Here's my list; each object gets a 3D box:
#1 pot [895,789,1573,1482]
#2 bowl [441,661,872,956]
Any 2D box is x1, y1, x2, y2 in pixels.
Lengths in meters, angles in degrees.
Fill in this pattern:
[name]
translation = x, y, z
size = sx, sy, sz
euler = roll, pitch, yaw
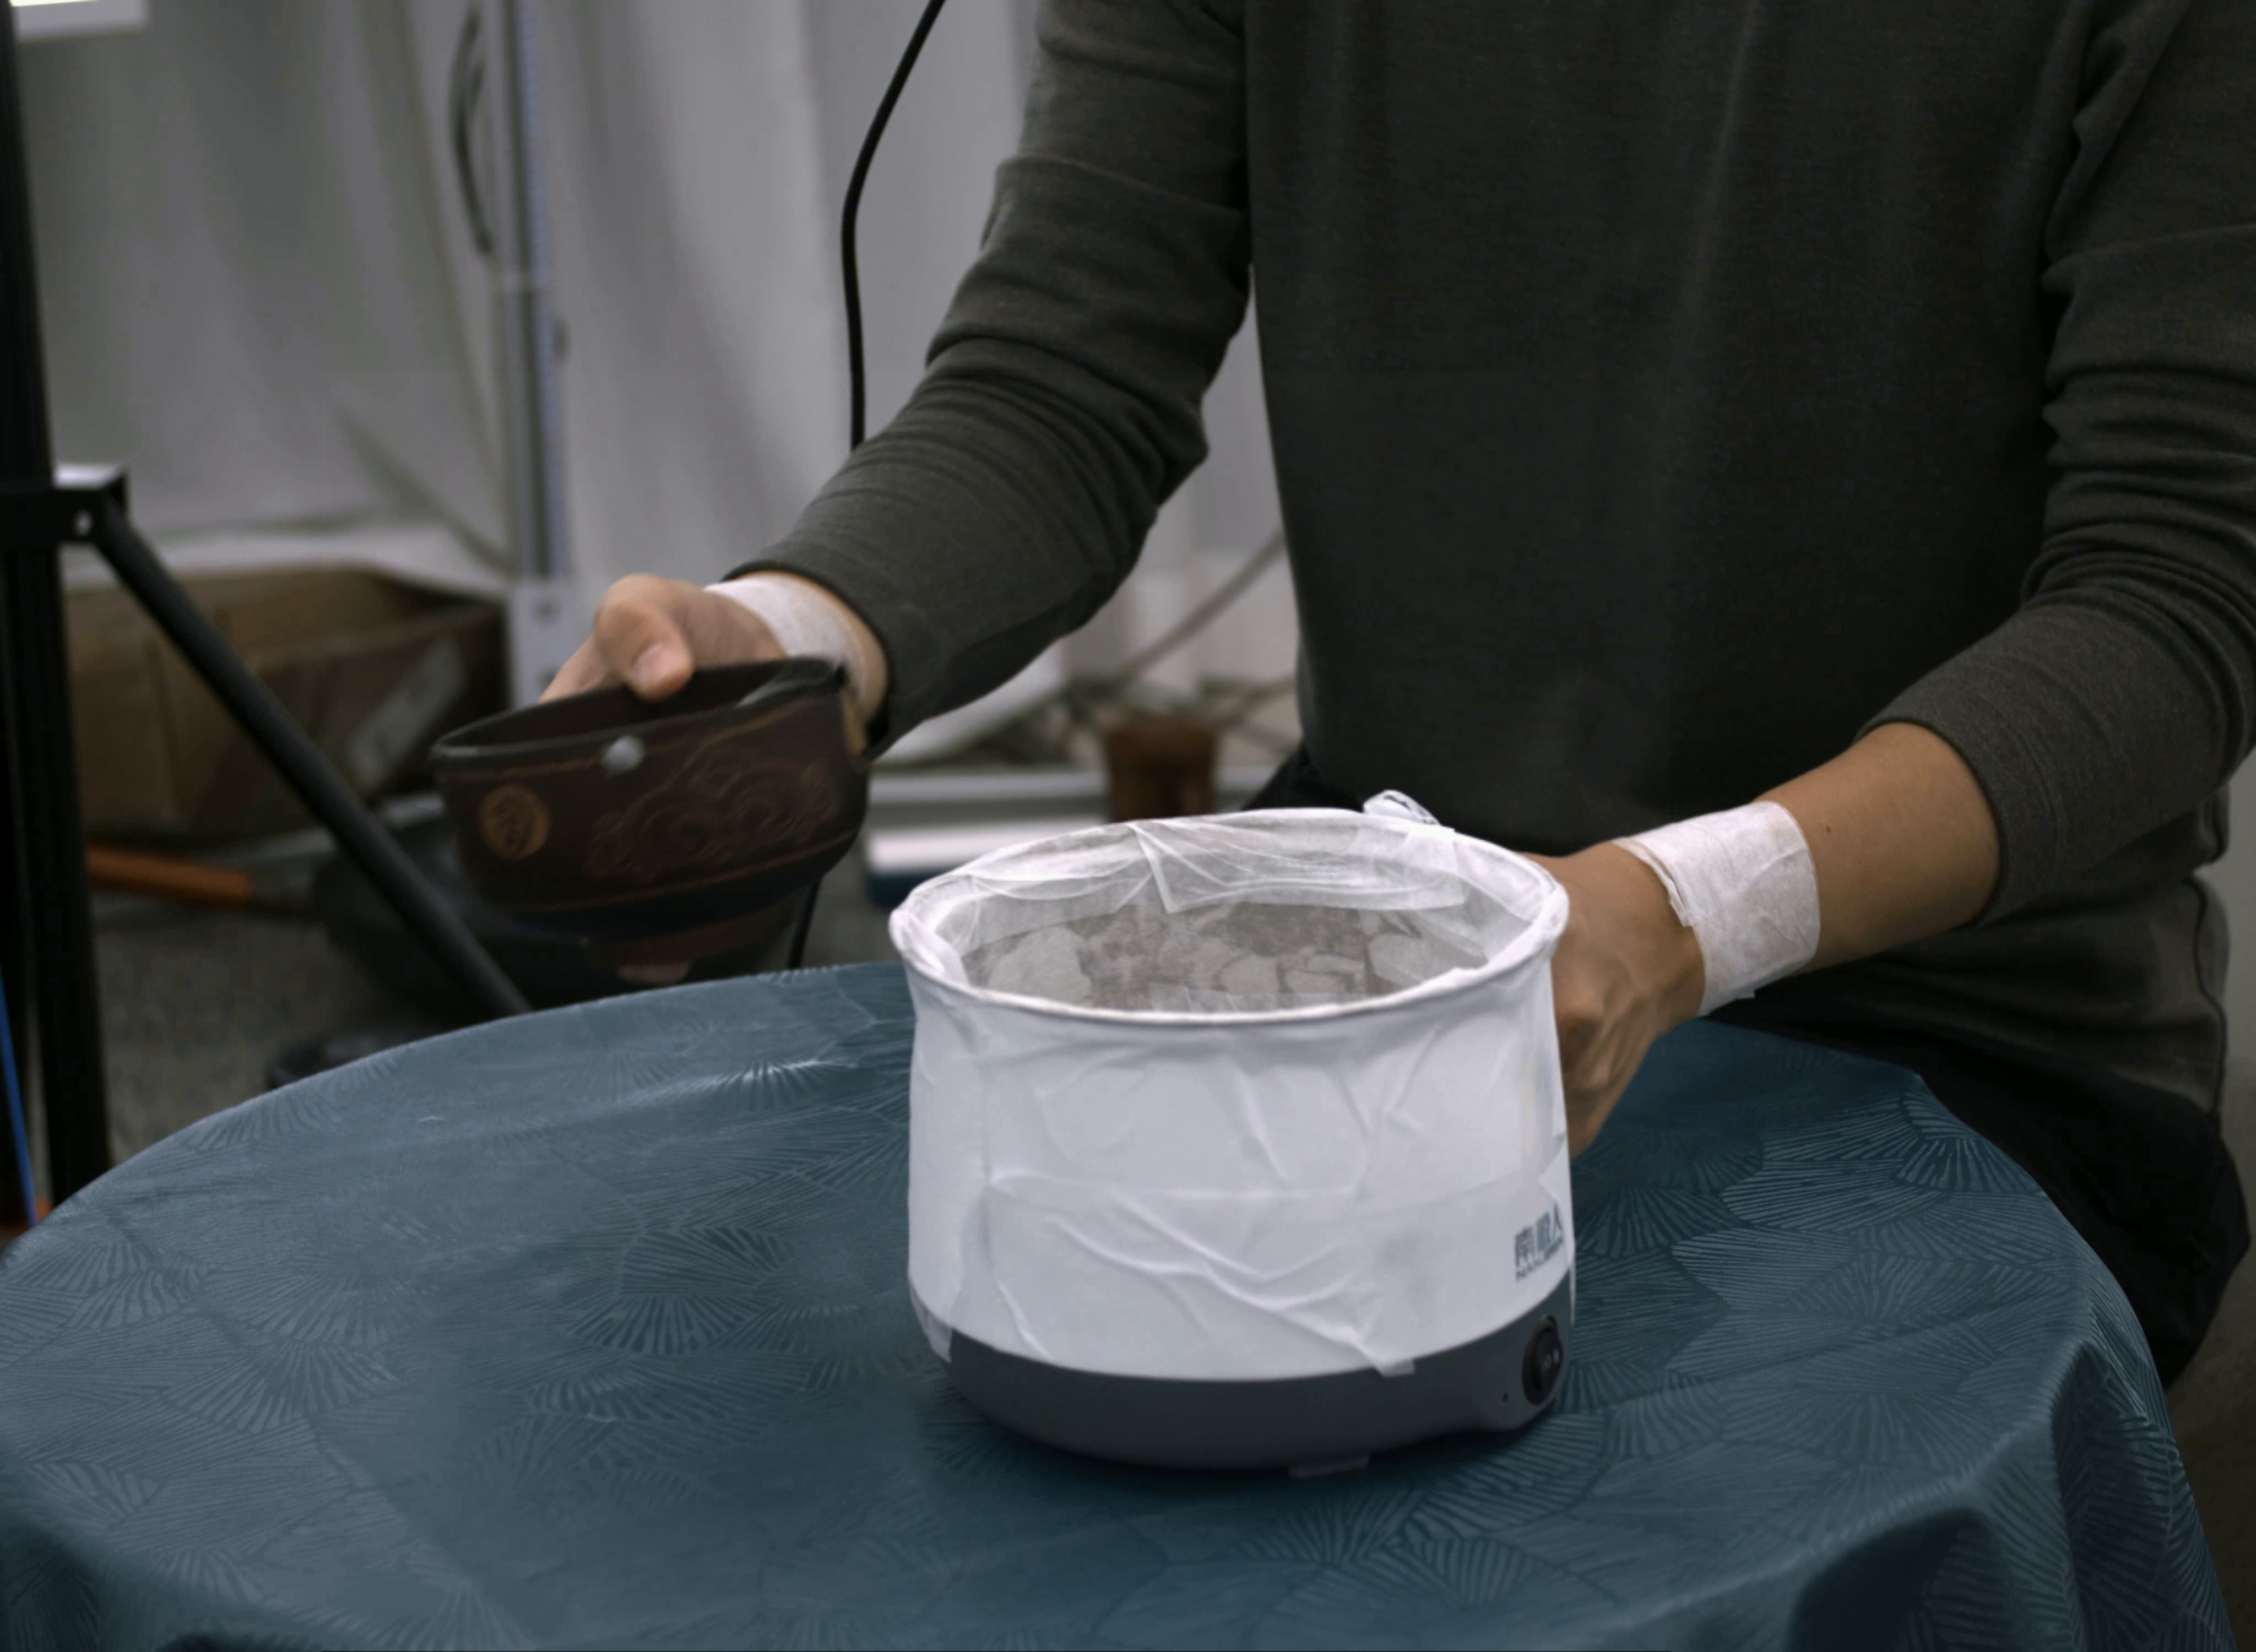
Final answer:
[pot]
translation = 0.041, 0.075, 1.417
size = 0.181, 0.136, 0.230
euler = 7, 18, 27
[bowl]
translation = -0.127, -0.003, 1.471
size = 0.117, 0.070, 0.118
euler = -9, 2, -1
